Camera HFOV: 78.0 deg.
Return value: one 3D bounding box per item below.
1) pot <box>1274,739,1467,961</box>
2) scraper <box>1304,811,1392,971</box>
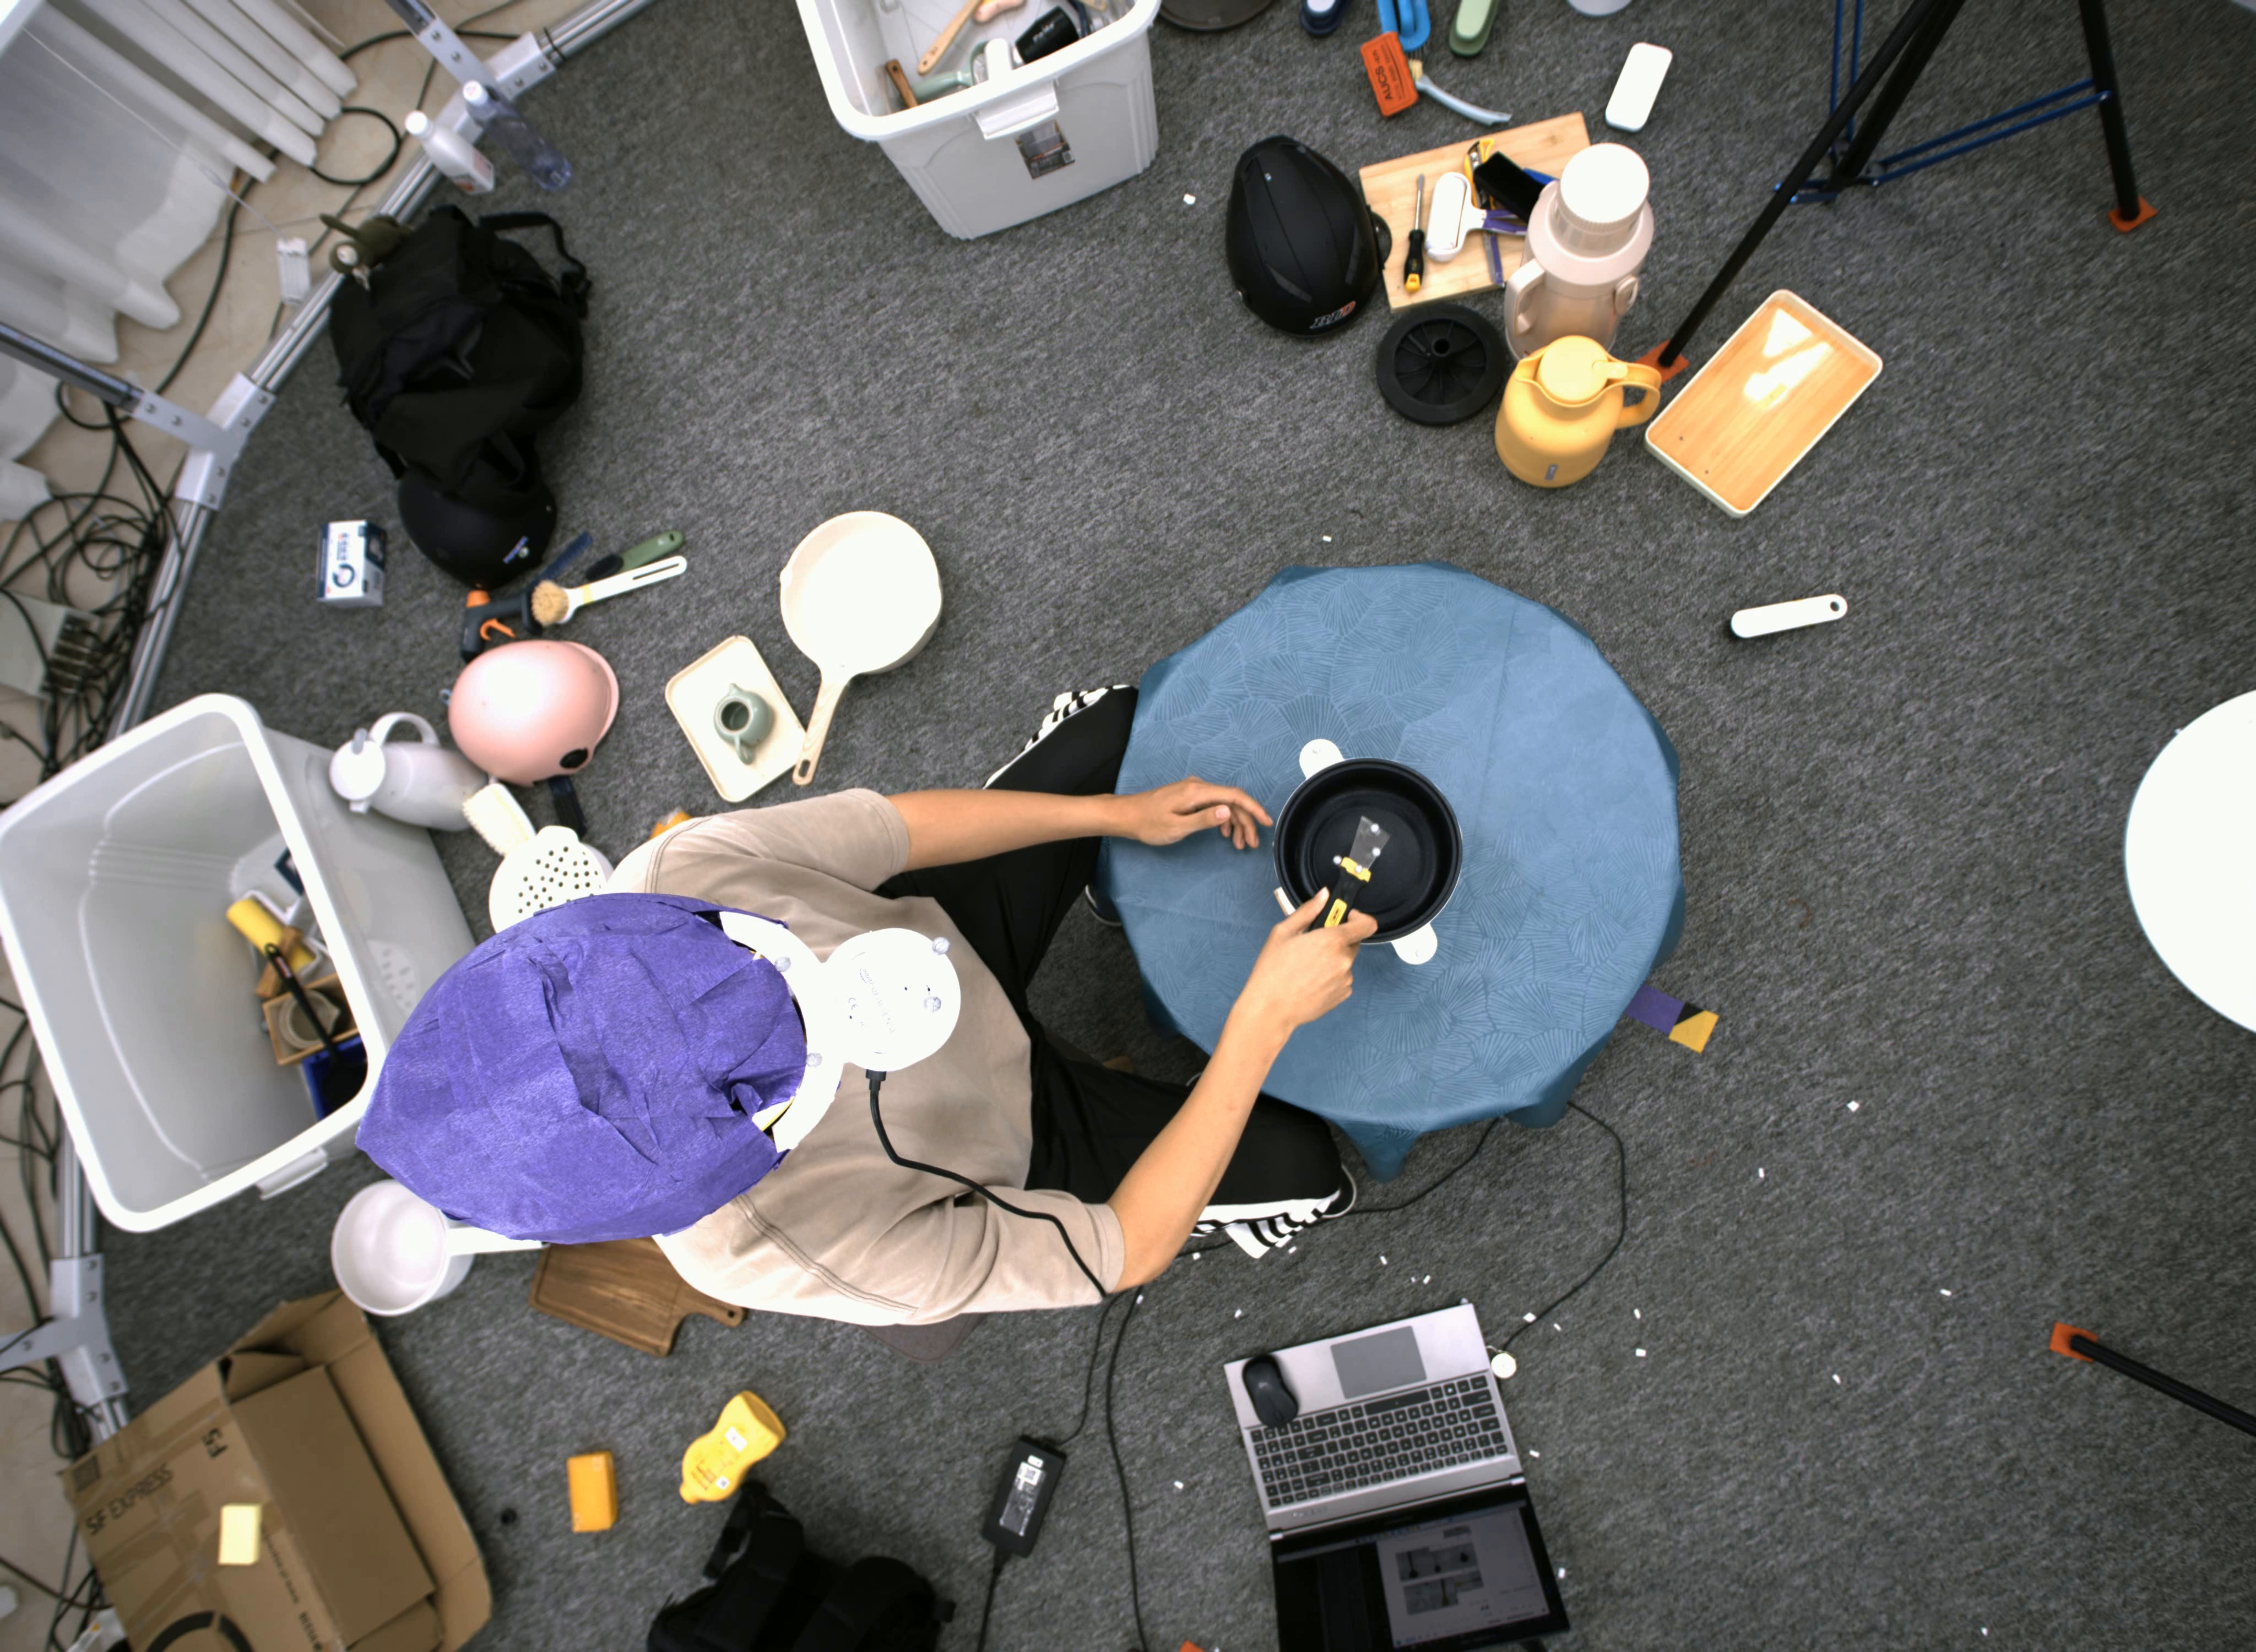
[{"bbox_3d":[0.238,0.032,1.399,0.191,0.143,0.238,-27,81,3],"label":"pot"},{"bbox_3d":[0.207,0.062,1.309,0.039,0.015,0.168,32,68,-11],"label":"scraper"}]
